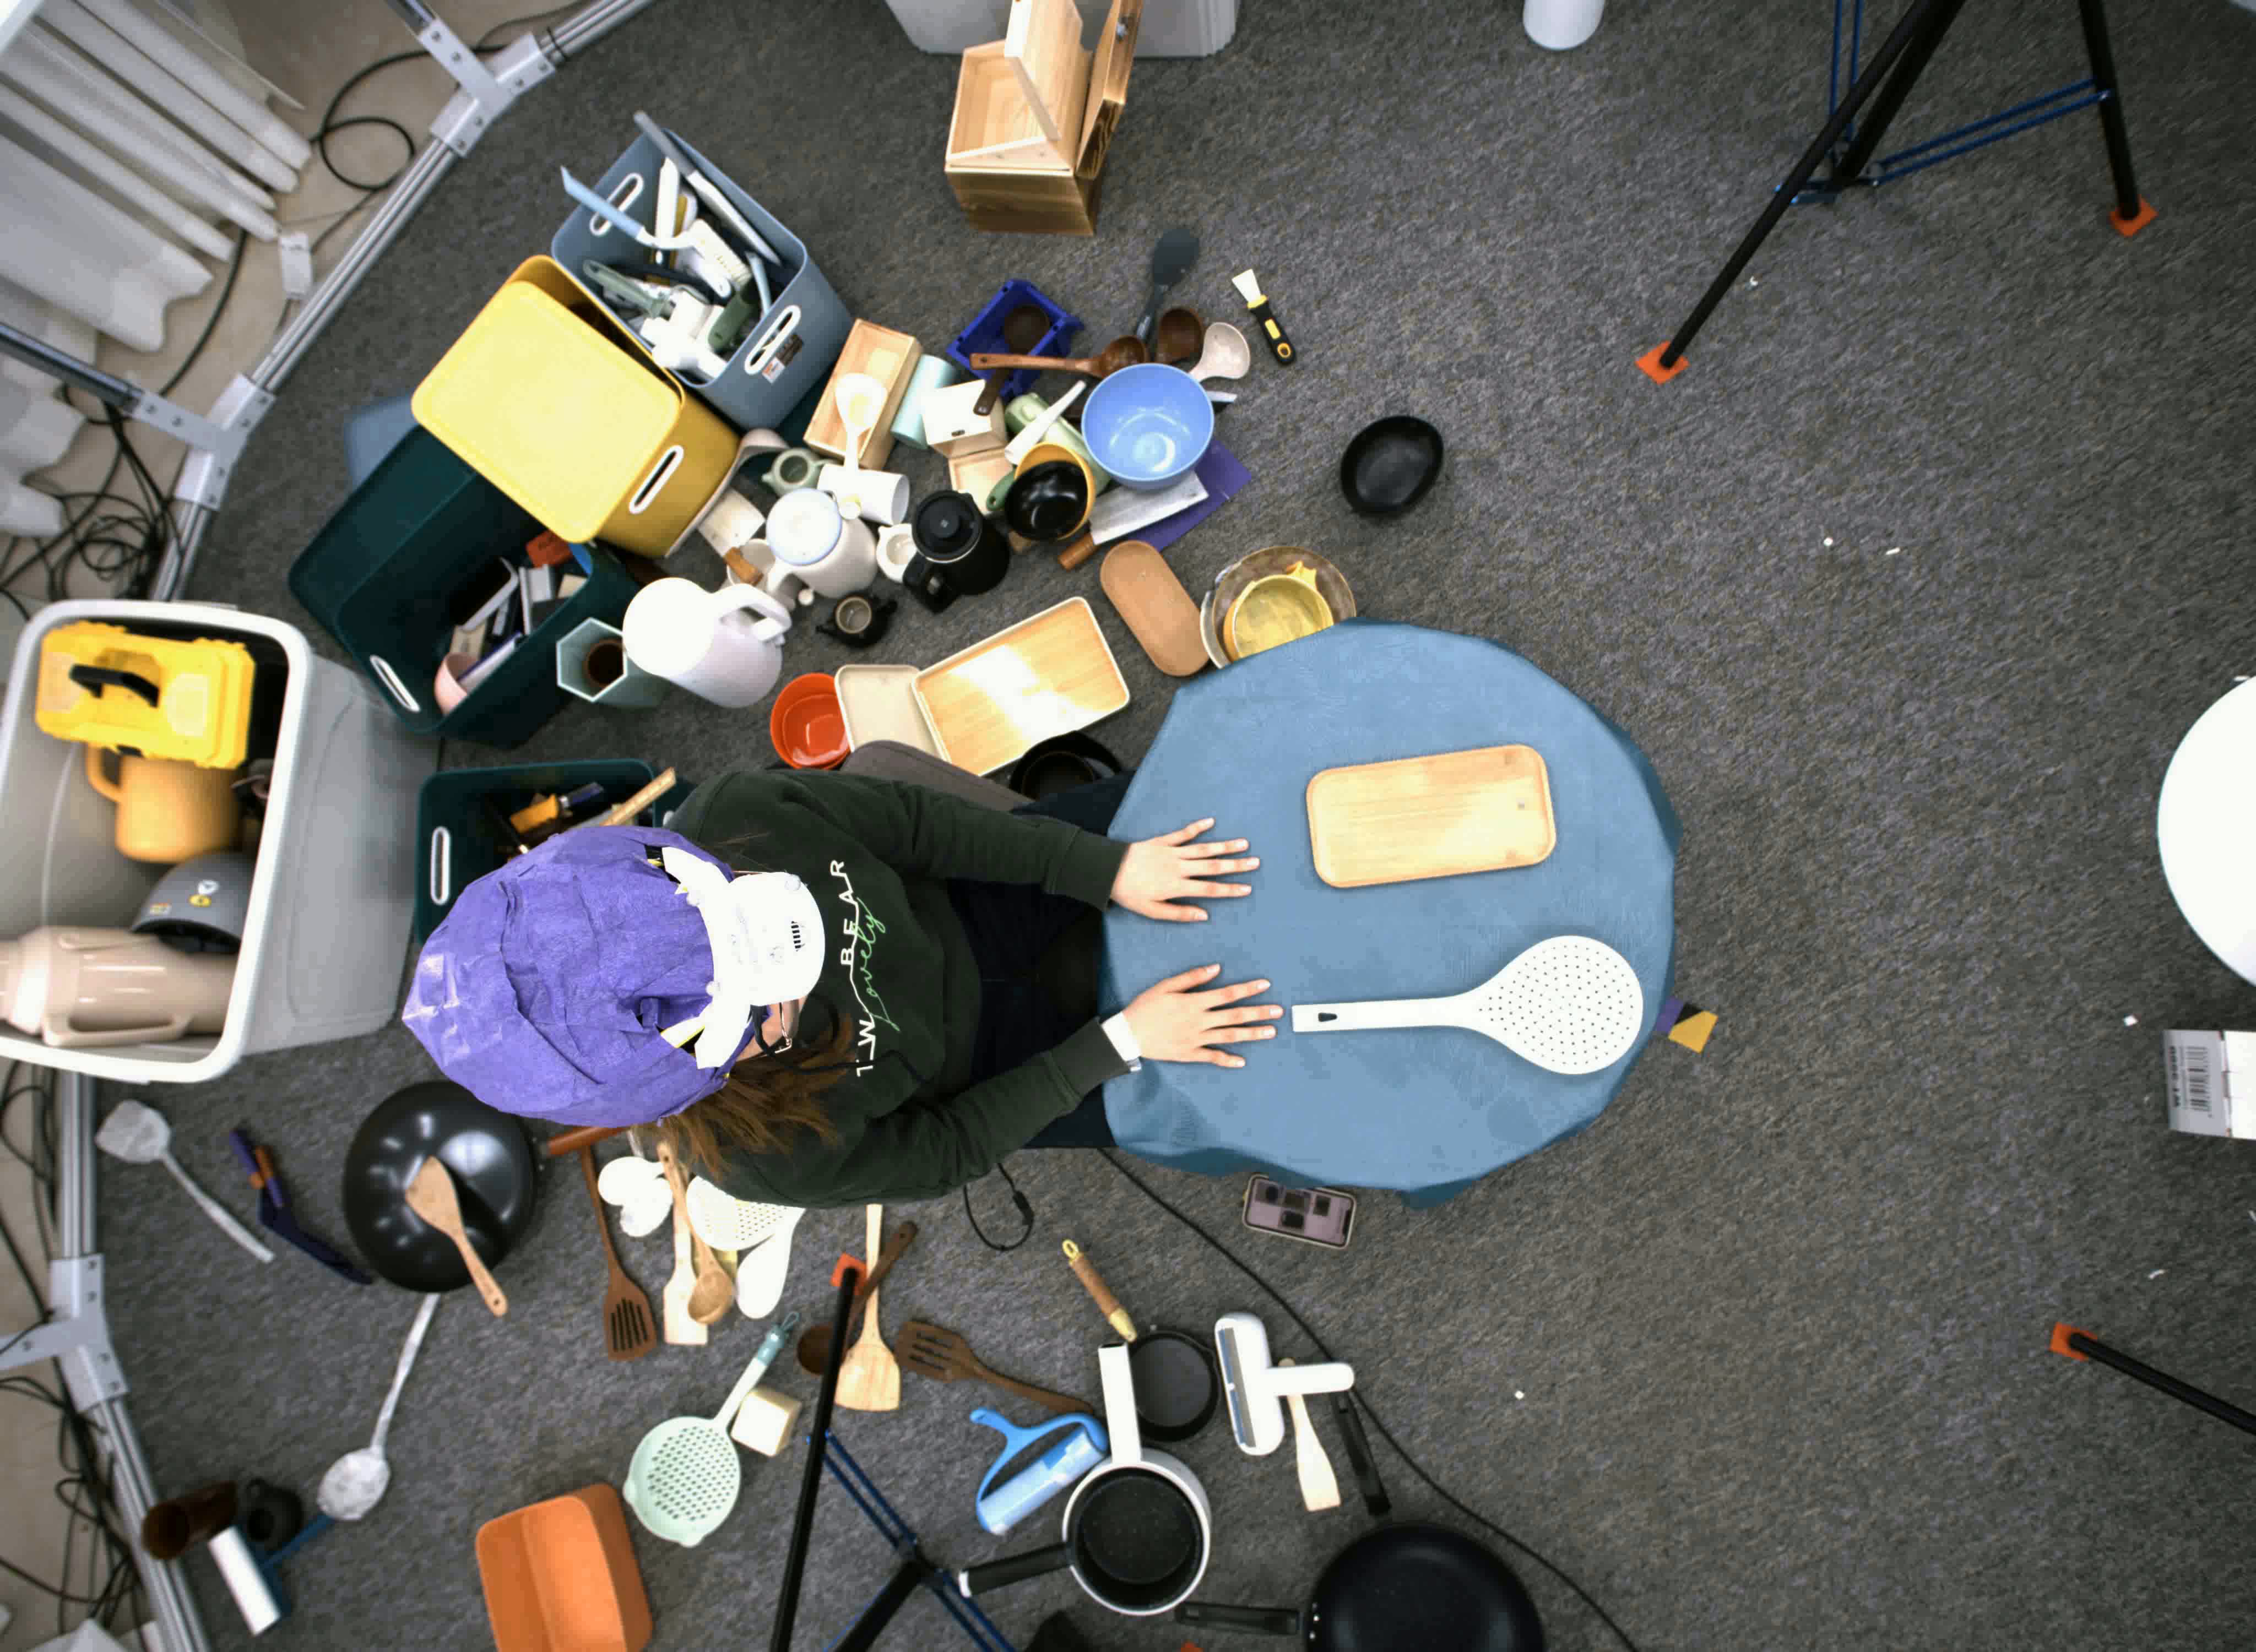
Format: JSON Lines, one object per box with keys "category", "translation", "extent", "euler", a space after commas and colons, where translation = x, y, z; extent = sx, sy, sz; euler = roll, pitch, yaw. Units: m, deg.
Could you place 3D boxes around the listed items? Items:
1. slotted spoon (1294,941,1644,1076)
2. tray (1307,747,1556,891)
{"category": "slotted spoon", "translation": [0.346, 0.190, 1.420], "extent": [0.351, 0.046, 0.135], "euler": [-4, 83, 11]}
{"category": "tray", "translation": [0.318, -0.008, 1.453], "extent": [0.252, 0.023, 0.129], "euler": [-7, 83, 11]}
